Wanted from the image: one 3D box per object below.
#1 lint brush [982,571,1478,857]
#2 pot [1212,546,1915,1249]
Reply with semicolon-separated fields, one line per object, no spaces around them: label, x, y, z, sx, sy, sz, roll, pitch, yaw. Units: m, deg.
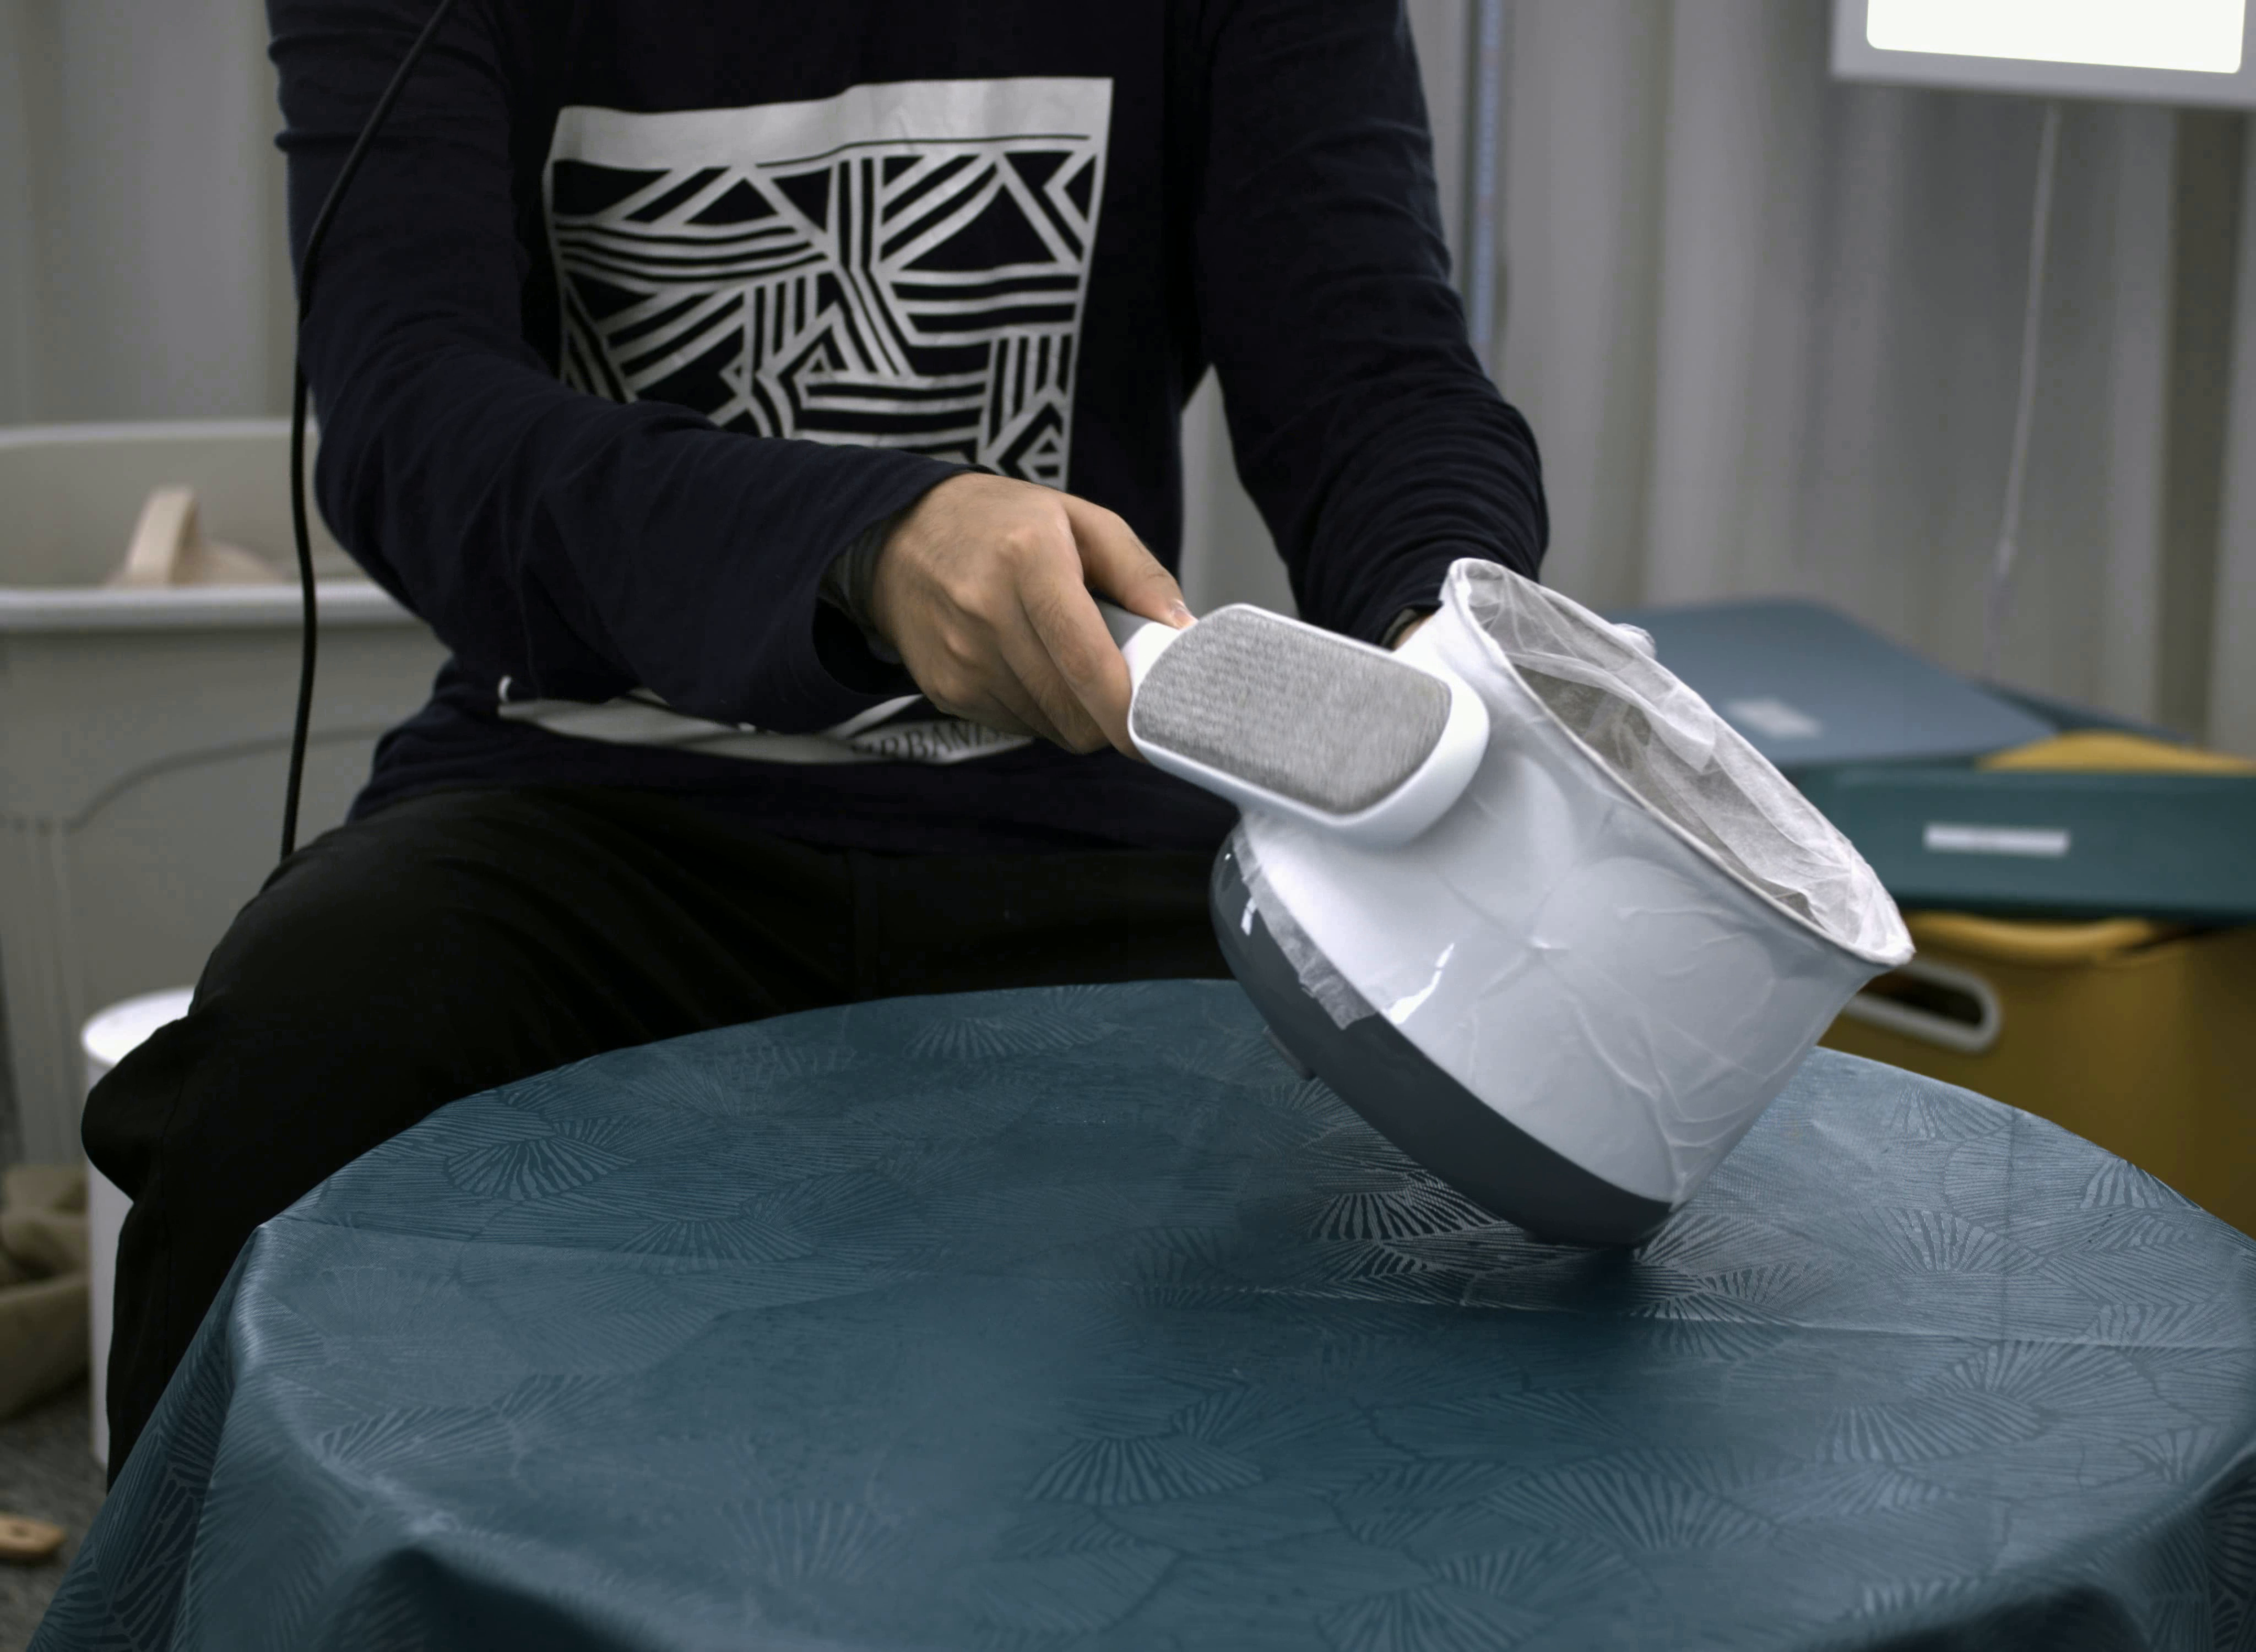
lint brush;0.023;-0.043;1.568;0.021;0.060;0.305;34;-4;-27
pot;0.121;0.014;1.575;0.180;0.136;0.232;38;16;-18
